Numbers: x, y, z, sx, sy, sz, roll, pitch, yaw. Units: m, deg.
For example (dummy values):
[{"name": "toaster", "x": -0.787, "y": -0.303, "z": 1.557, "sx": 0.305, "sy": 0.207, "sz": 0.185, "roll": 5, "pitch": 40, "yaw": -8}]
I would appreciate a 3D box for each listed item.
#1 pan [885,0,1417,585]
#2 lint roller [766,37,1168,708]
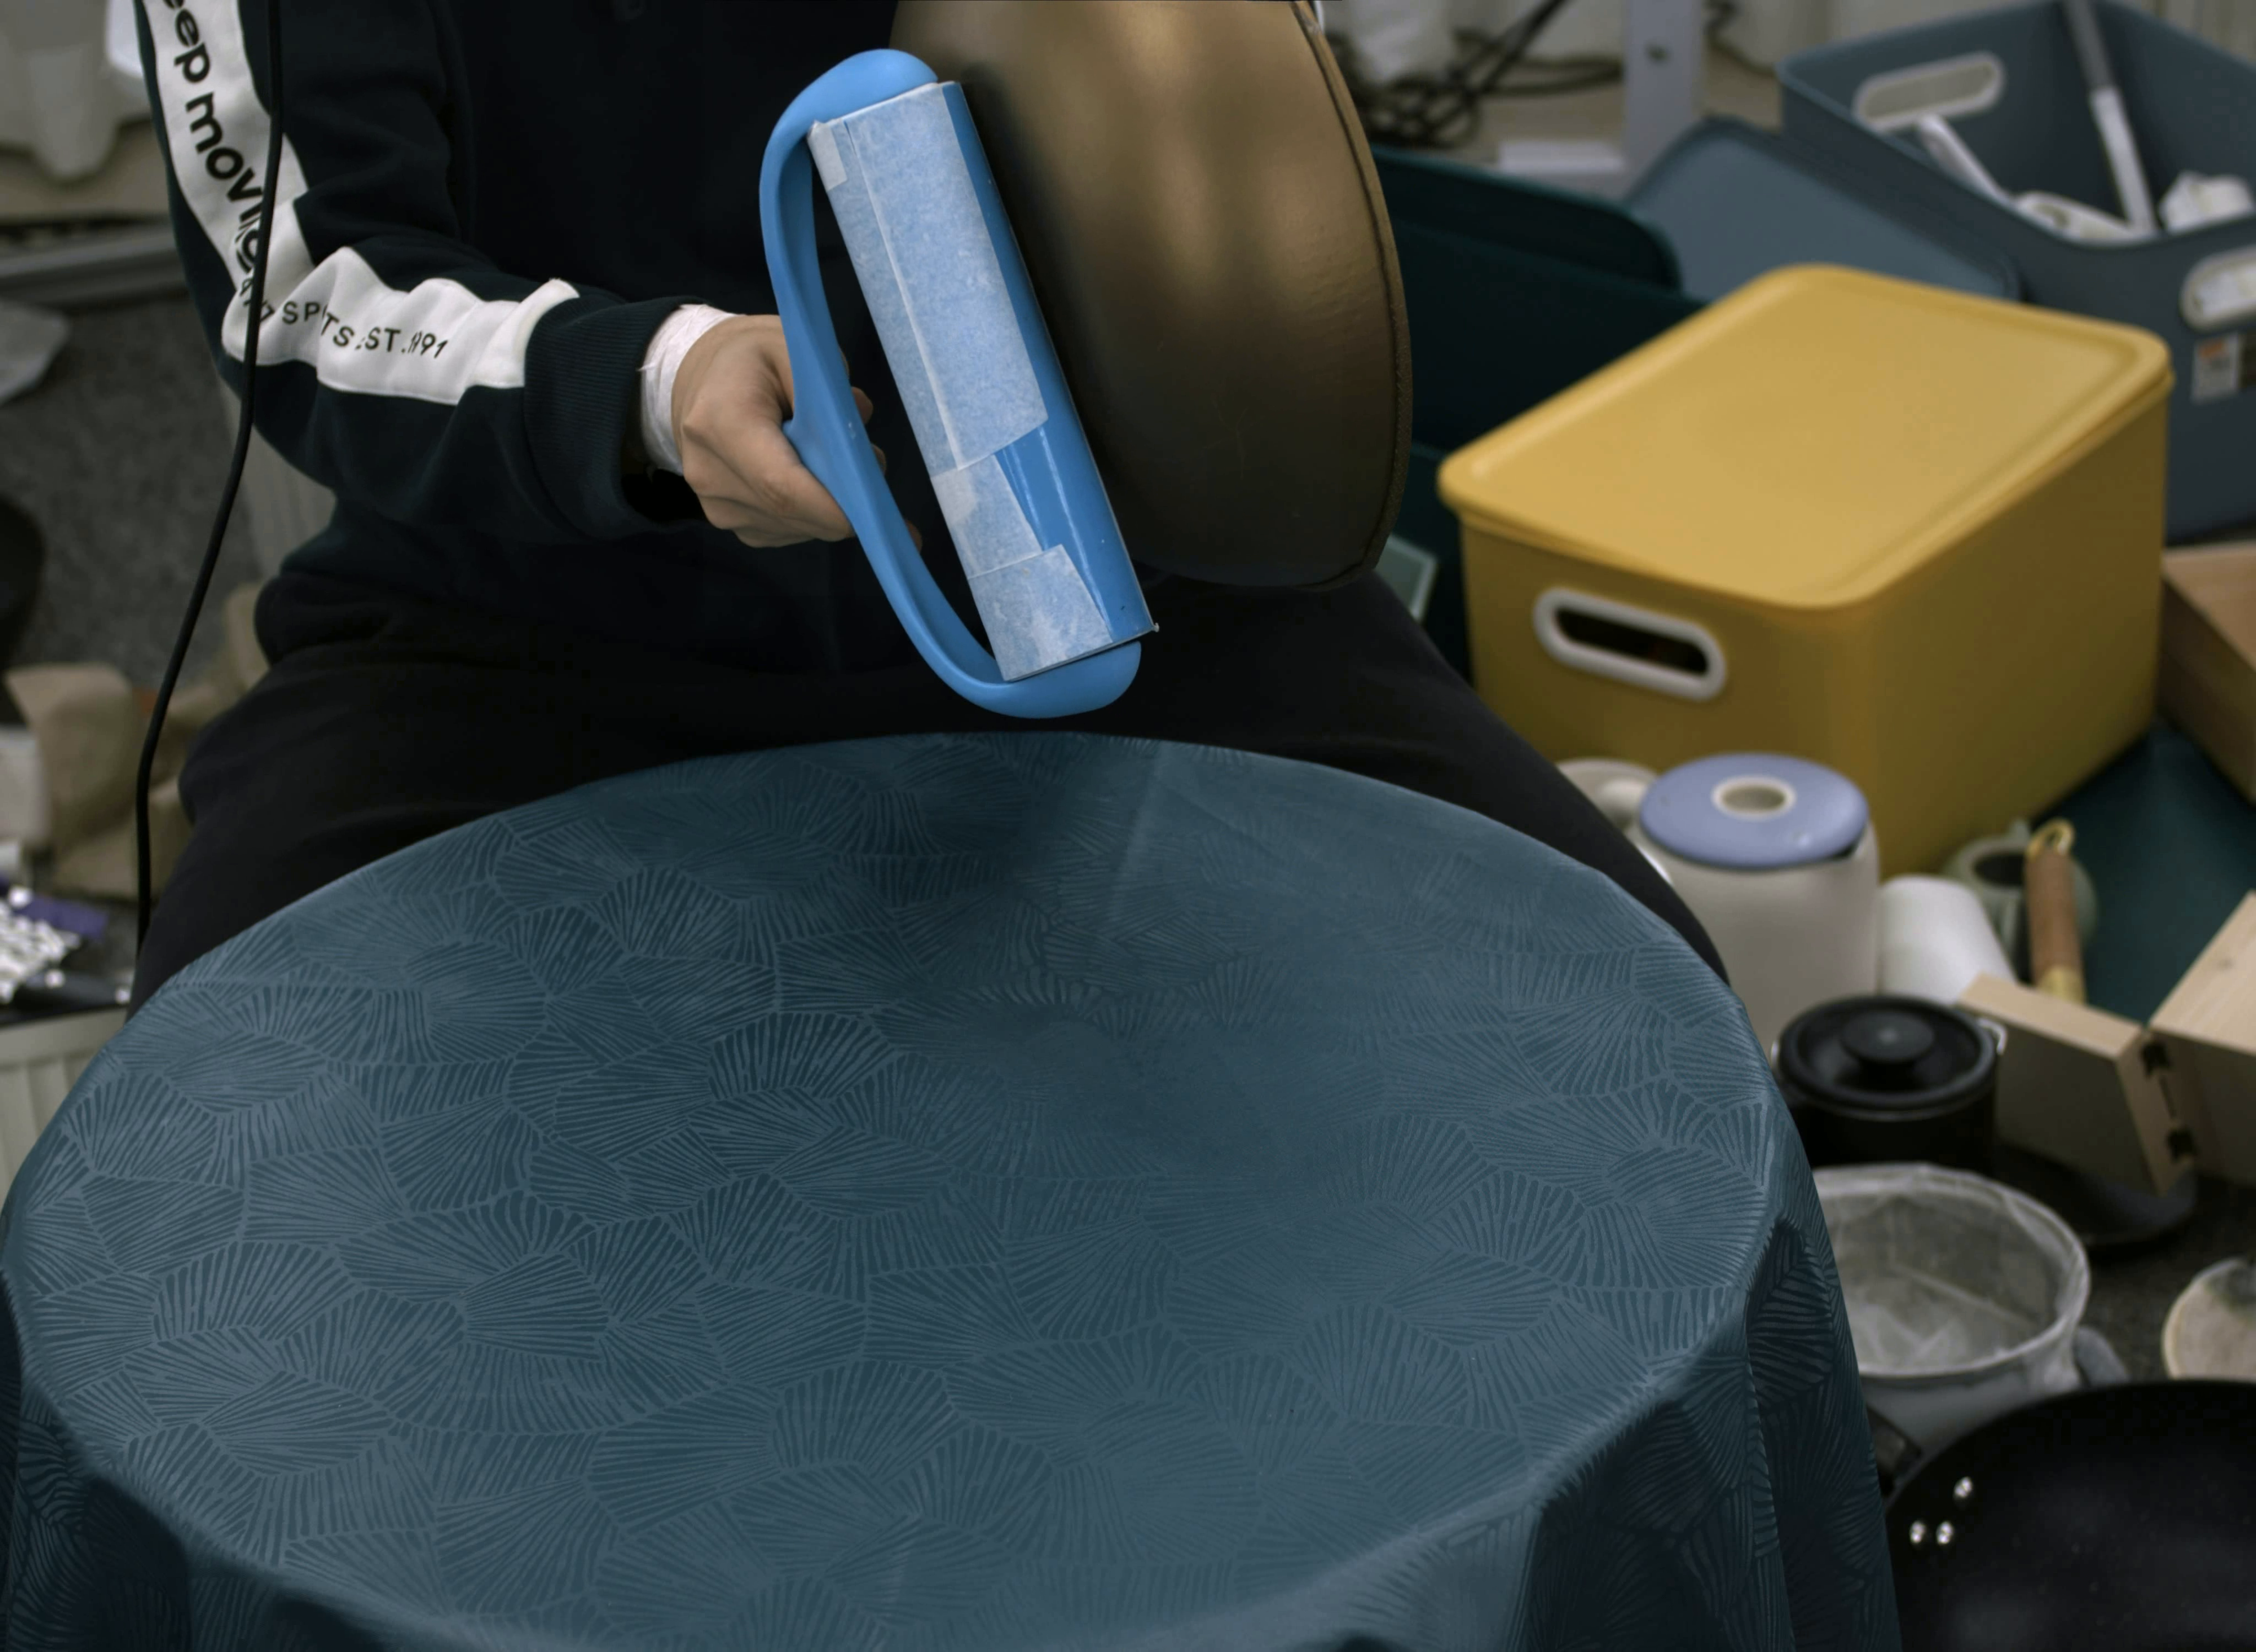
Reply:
[{"name": "pan", "x": -0.033, "y": -0.170, "z": 1.988, "sx": 0.087, "sy": 0.456, "sz": 0.290, "roll": -20, "pitch": 74, "yaw": -23}, {"name": "lint roller", "x": -0.077, "y": -0.137, "z": 1.904, "sx": 0.068, "sy": 0.229, "sz": 0.178, "roll": -23, "pitch": 0, "yaw": -34}]
